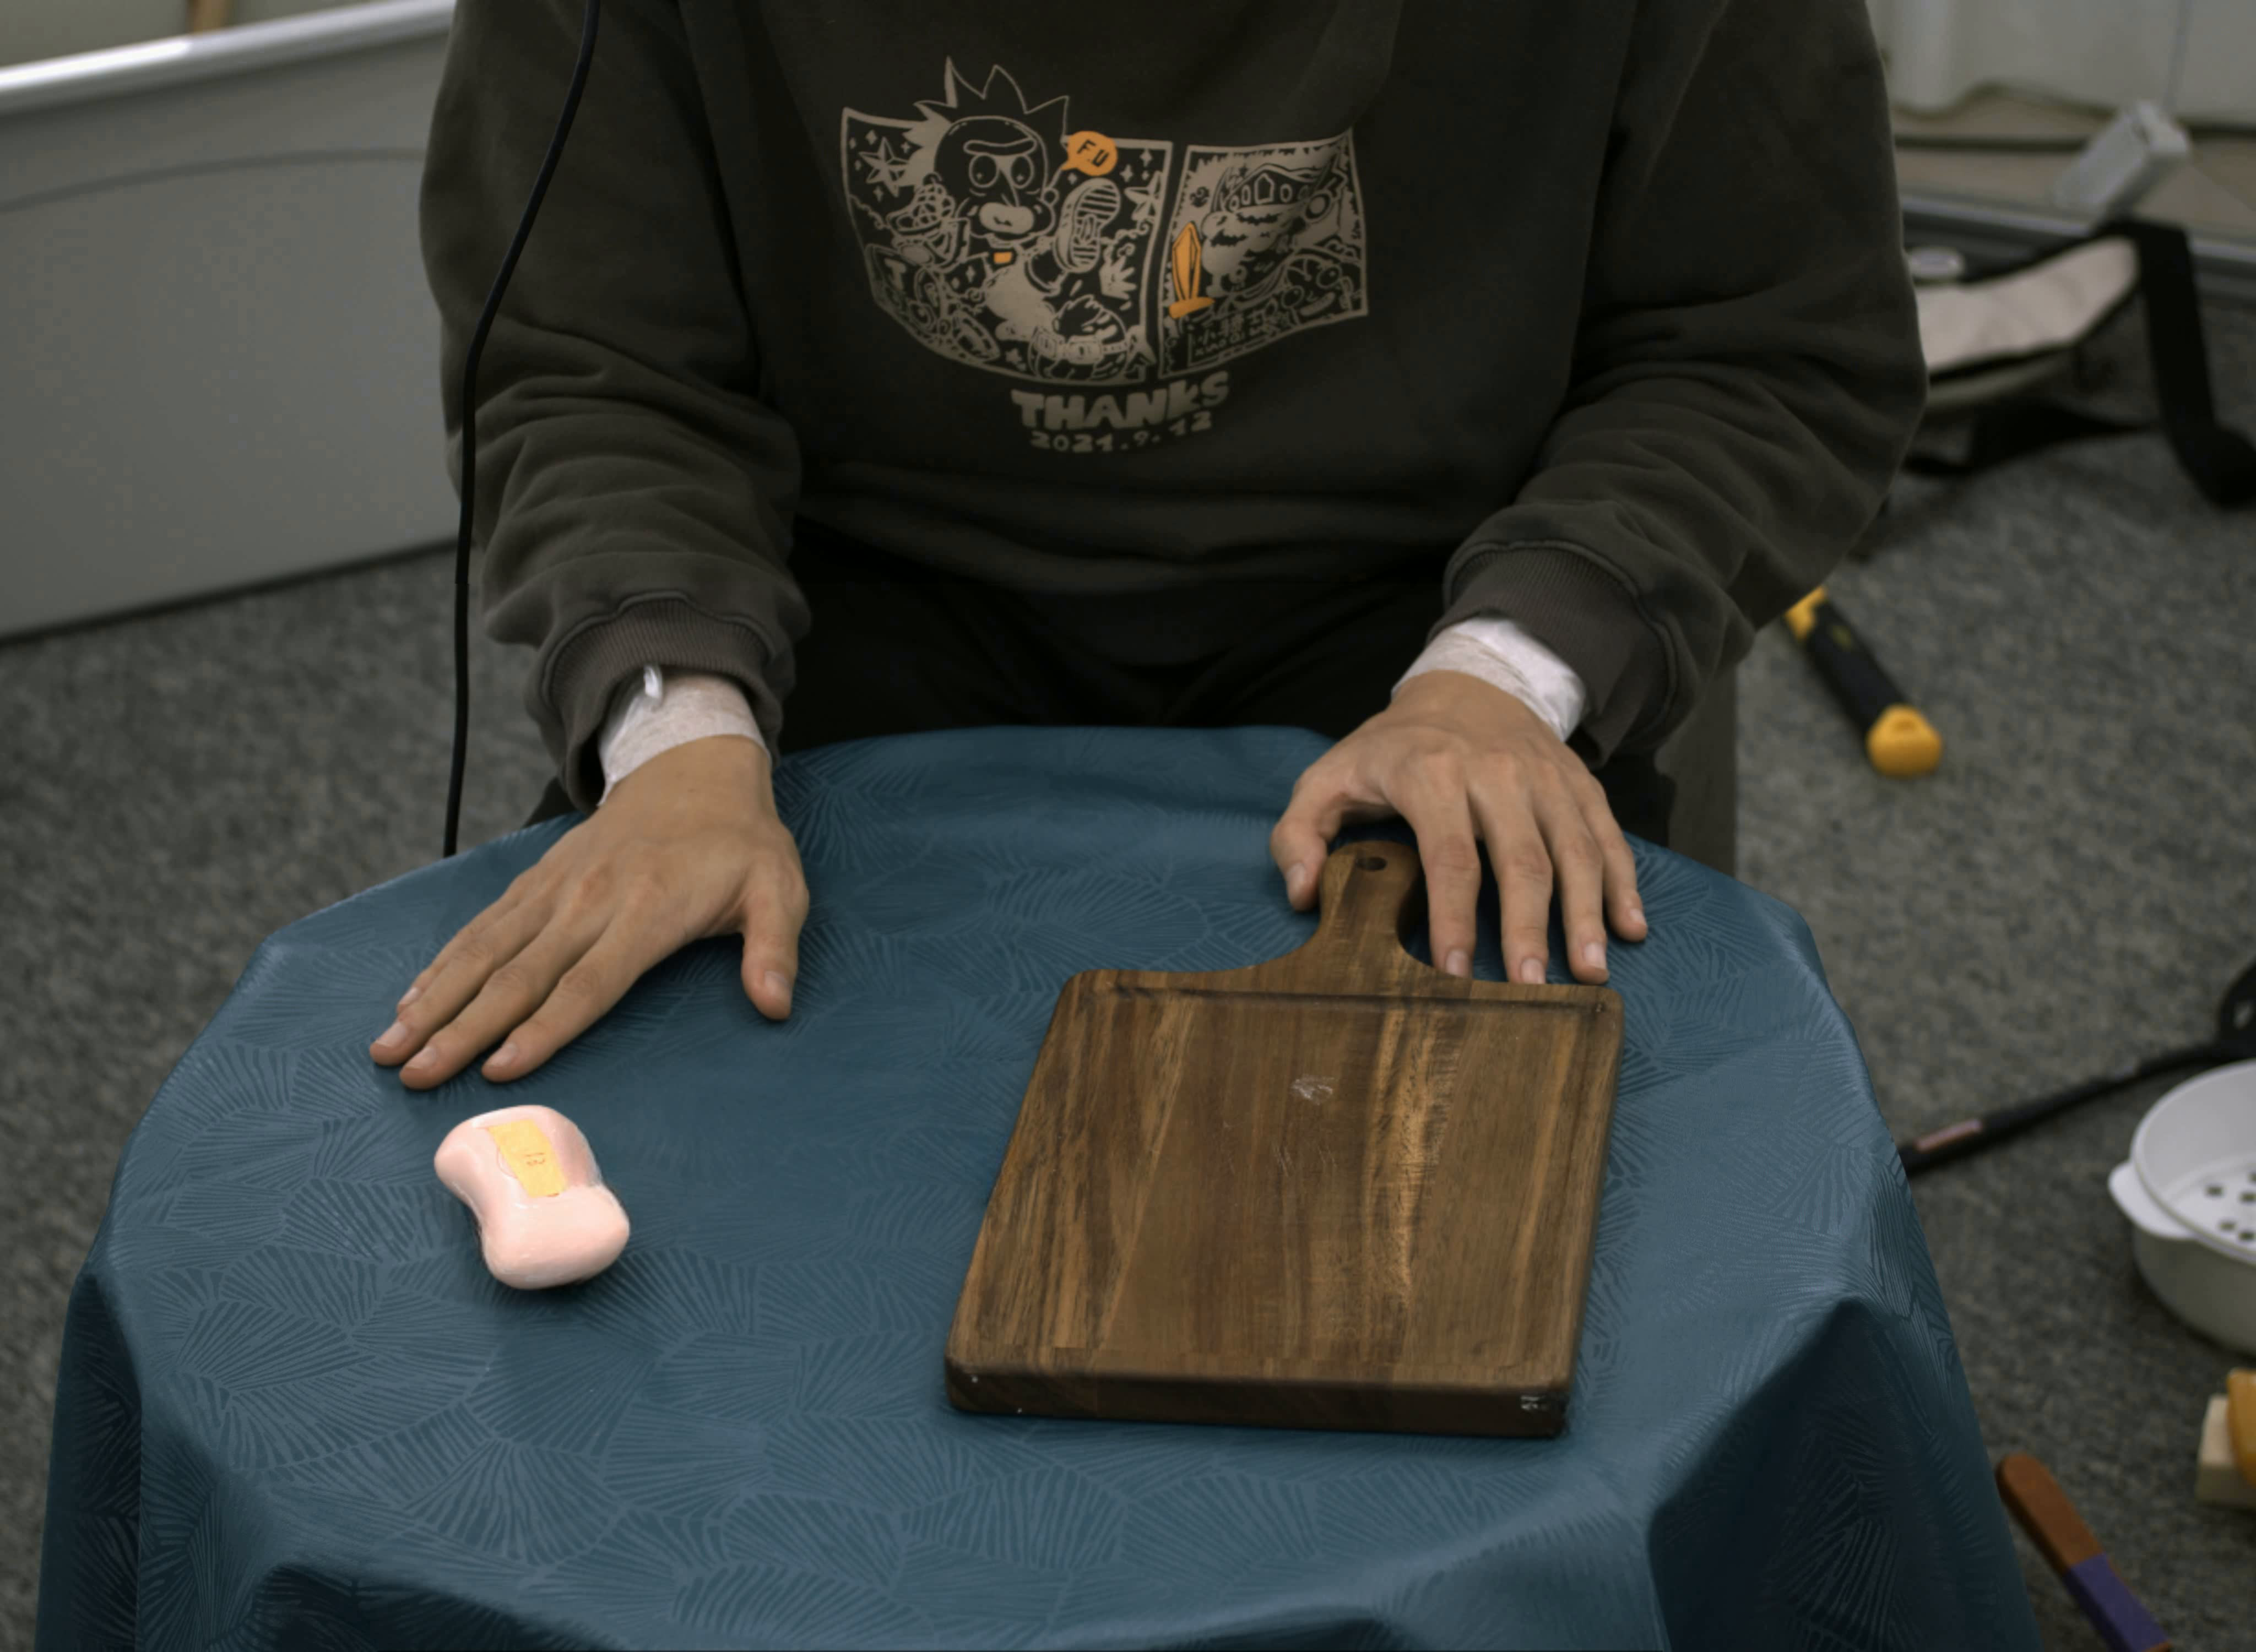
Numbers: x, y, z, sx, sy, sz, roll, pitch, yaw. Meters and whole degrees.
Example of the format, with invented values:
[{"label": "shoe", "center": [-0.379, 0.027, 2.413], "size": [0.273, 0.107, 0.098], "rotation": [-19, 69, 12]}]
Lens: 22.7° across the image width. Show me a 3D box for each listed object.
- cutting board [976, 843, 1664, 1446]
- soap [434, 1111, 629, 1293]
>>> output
[{"label": "cutting board", "center": [0.076, 0.097, 1.877], "size": [0.200, 0.023, 0.358], "rotation": [2, 28, 10]}, {"label": "soap", "center": [-0.197, 0.124, 1.846], "size": [0.050, 0.030, 0.095], "rotation": [-11, 27, -16]}]
